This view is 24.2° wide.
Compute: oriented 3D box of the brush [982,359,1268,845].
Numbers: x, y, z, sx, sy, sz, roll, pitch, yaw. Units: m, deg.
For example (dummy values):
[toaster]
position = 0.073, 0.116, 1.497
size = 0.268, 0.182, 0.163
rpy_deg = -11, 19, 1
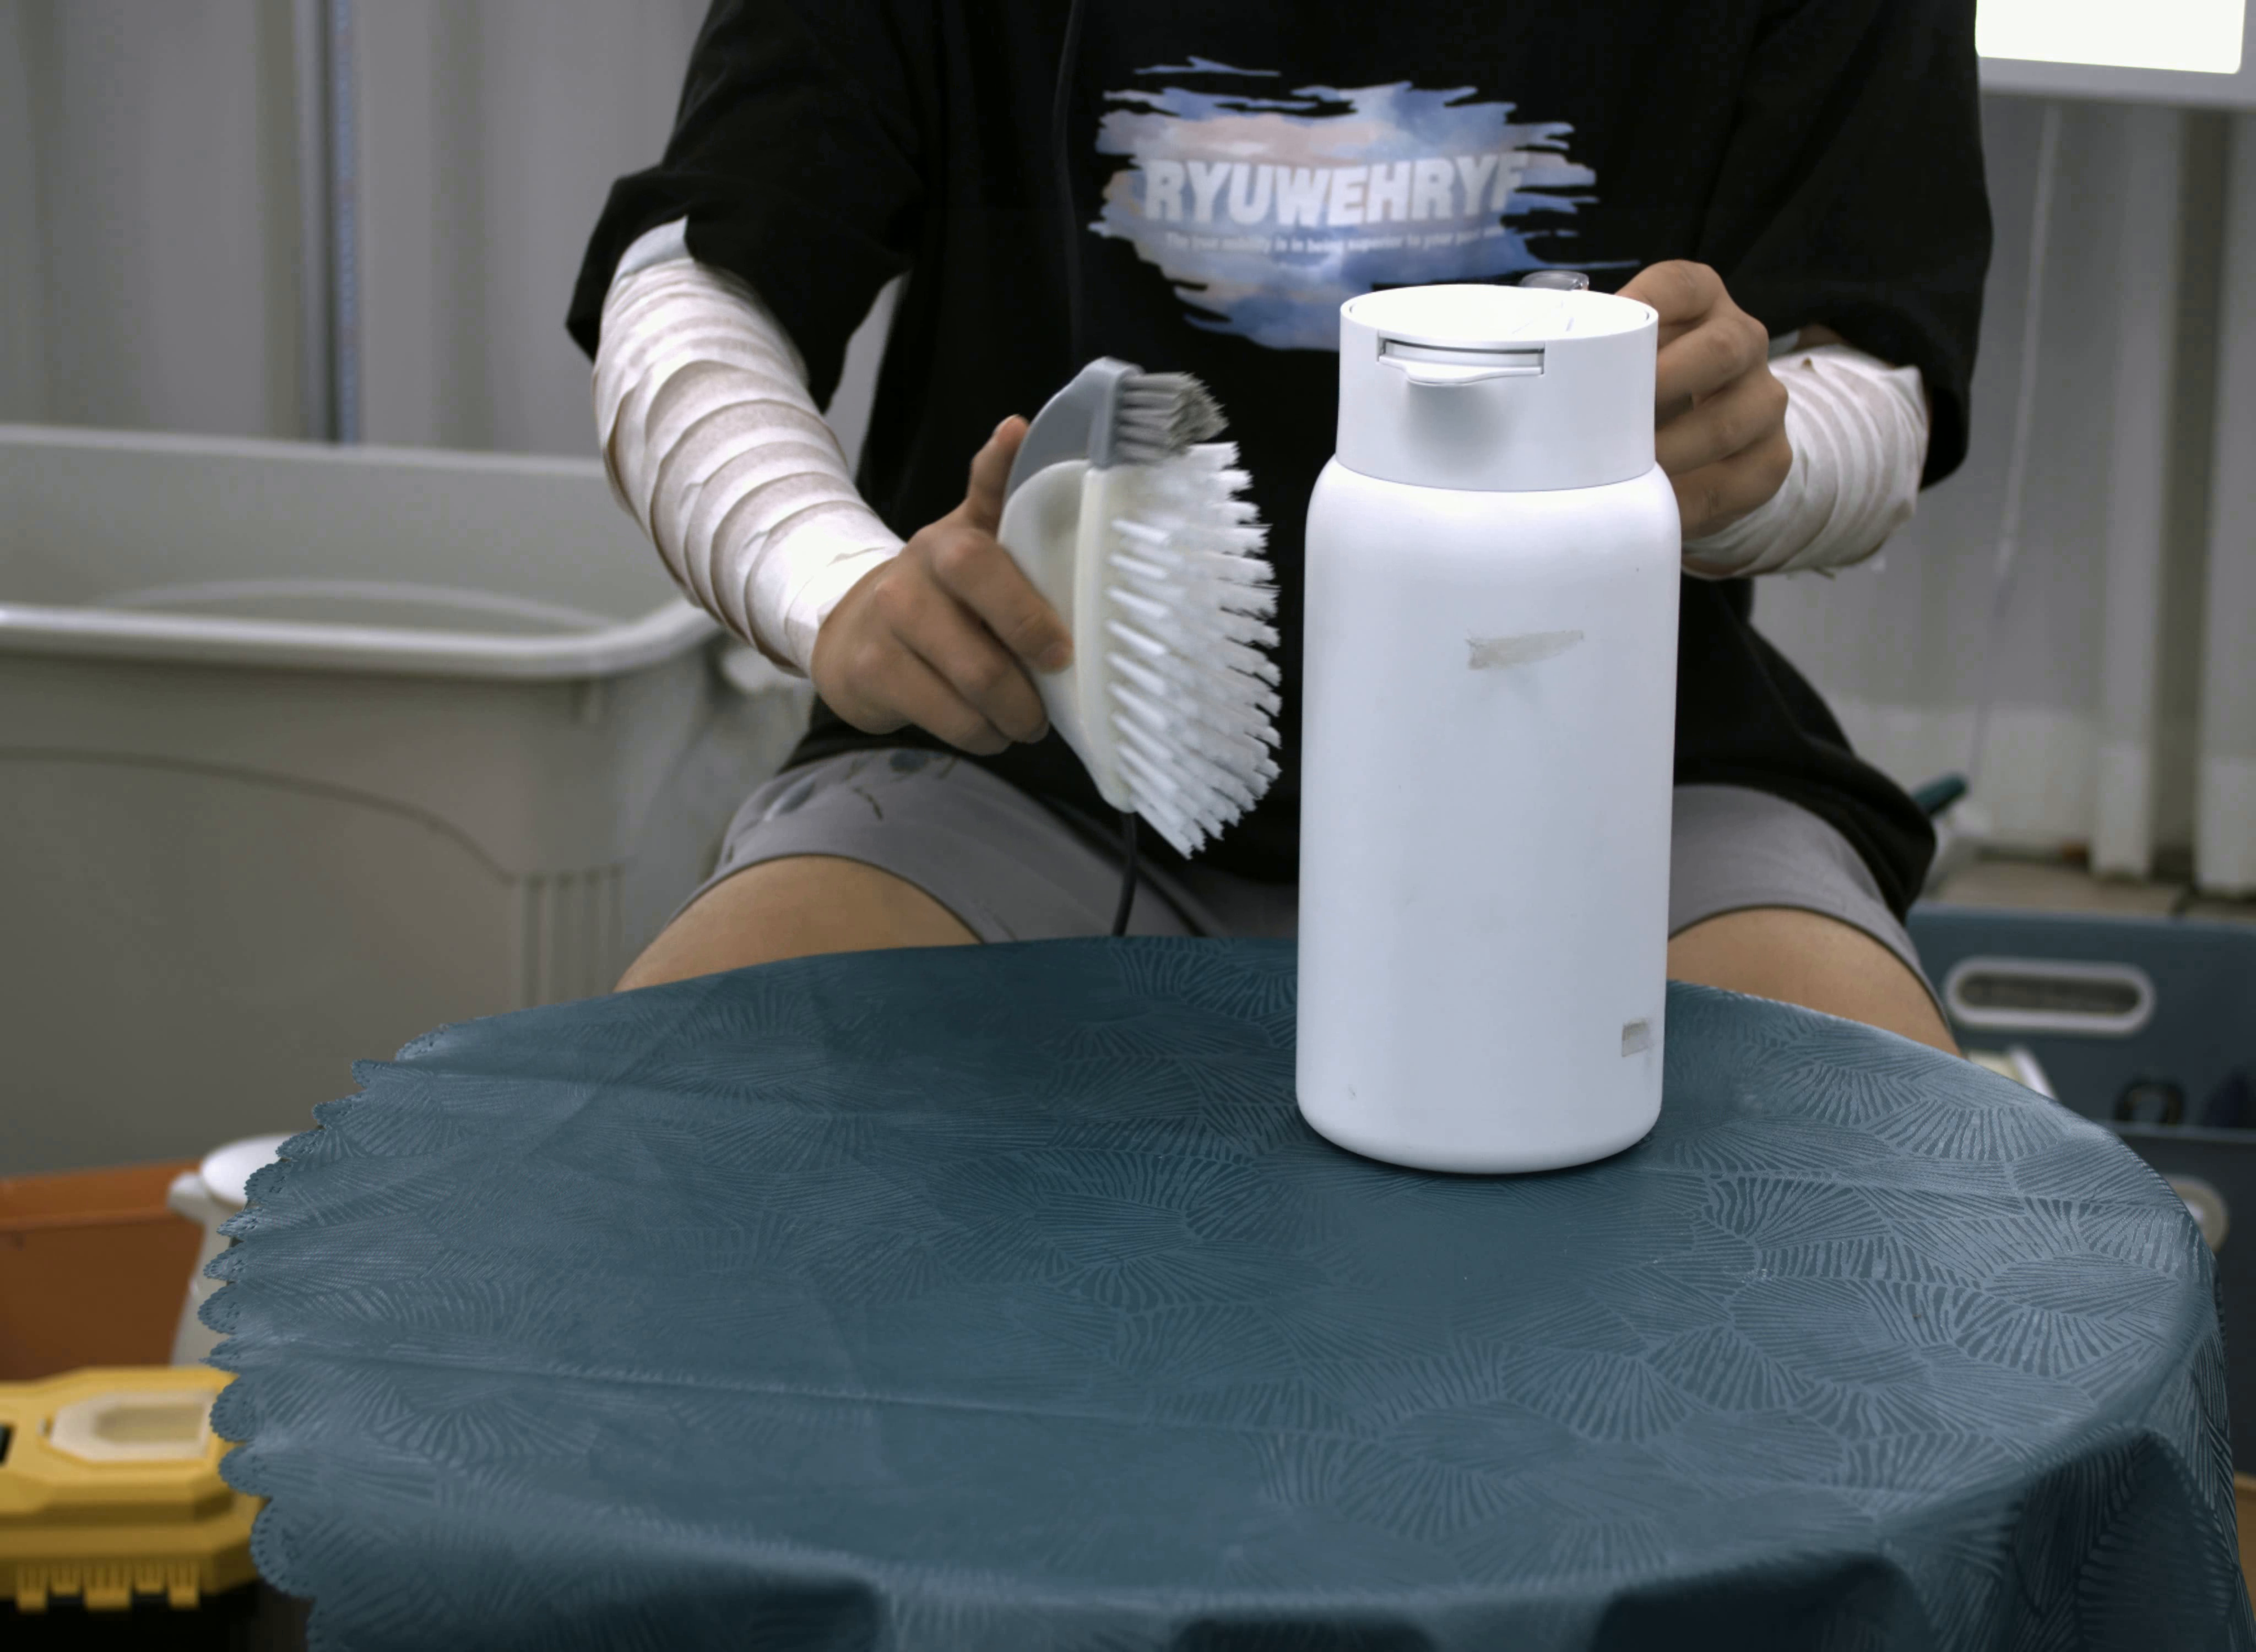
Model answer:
[brush]
position = -0.005, -0.084, 1.679
size = 0.093, 0.178, 0.061
rpy_deg = 24, 50, 28

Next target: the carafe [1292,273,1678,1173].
[carafe]
position = 0.116, -0.037, 1.667
size = 0.123, 0.271, 0.173
rpy_deg = 4, 16, 18
